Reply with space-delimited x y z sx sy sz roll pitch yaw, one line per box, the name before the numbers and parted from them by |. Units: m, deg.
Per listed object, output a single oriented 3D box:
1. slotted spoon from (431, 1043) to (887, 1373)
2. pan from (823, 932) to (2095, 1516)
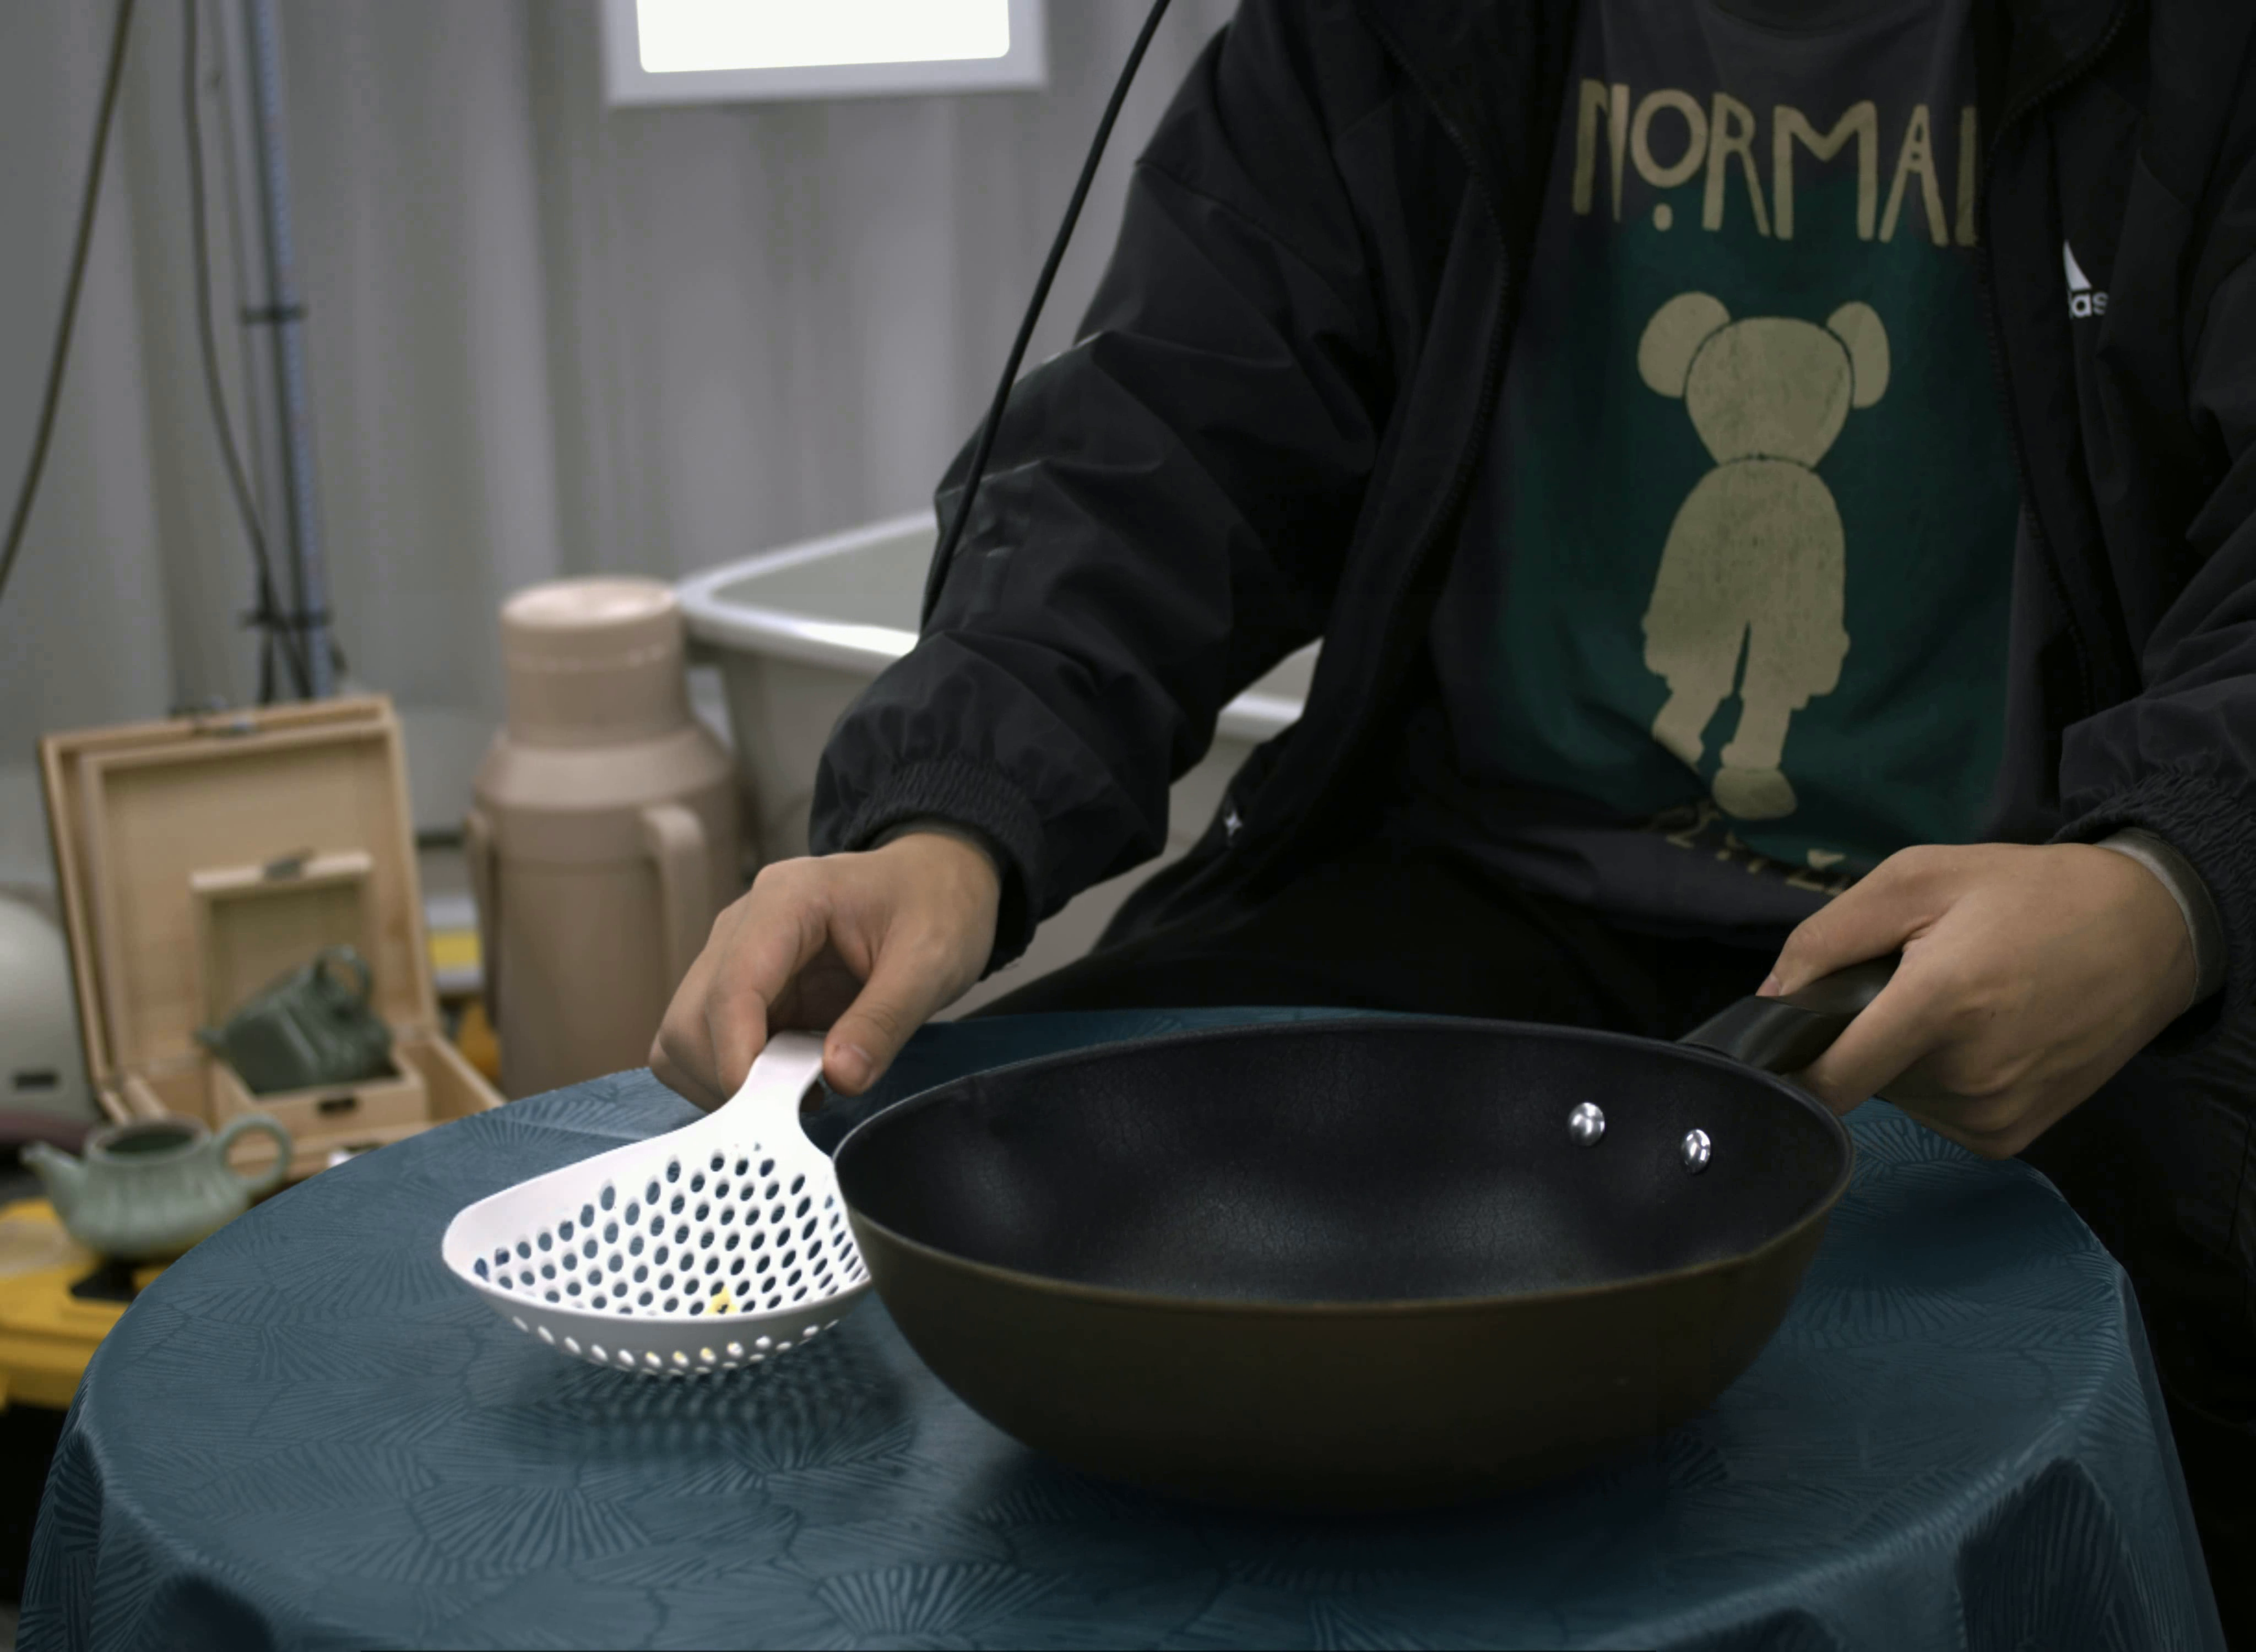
slotted spoon | -0.118 0.104 1.687 0.136 0.050 0.350 1 17 7
pan | 0.122 0.108 1.557 0.462 0.086 0.289 -14 17 -43
